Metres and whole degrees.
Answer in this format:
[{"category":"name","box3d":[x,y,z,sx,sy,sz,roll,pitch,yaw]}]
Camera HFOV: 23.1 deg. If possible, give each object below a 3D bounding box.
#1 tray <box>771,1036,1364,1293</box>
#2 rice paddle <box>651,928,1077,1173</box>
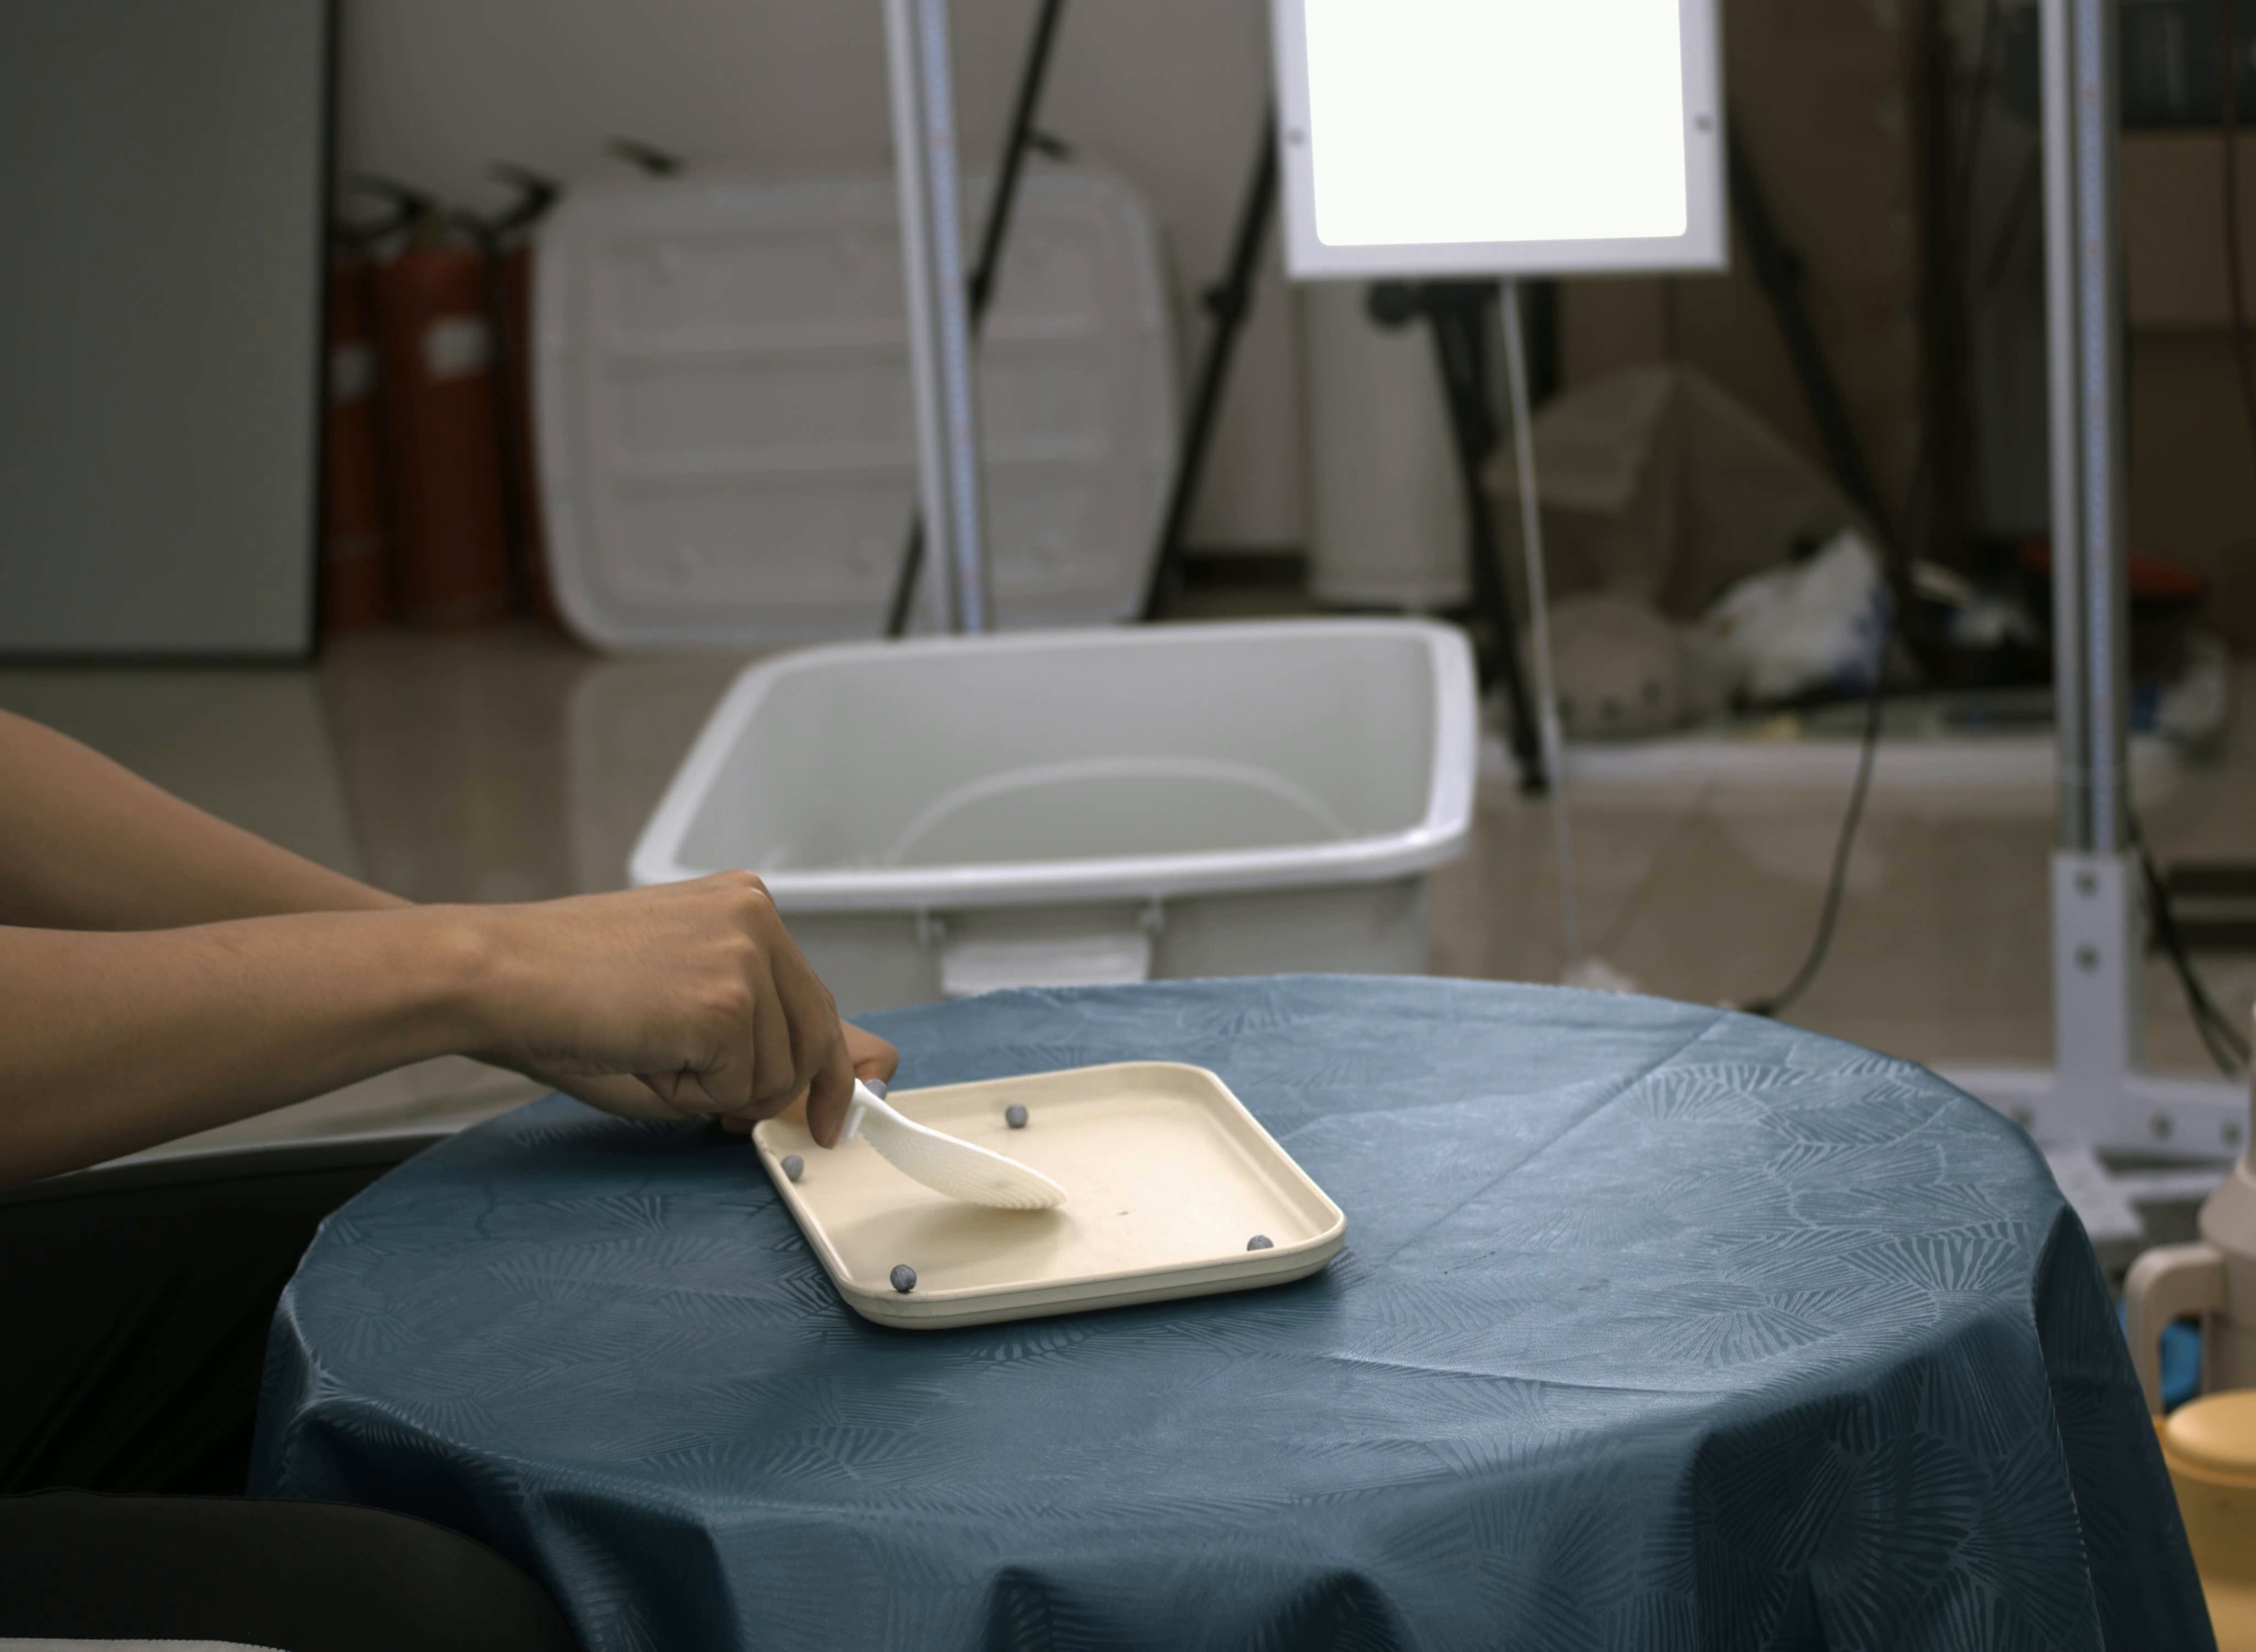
[{"category":"tray","box3d":[-0.024,0.115,1.890,0.169,0.017,0.241,-7,13,-10]},{"category":"rice paddle","box3d":[-0.084,0.080,1.824,0.070,0.029,0.201,14,-11,39]}]
